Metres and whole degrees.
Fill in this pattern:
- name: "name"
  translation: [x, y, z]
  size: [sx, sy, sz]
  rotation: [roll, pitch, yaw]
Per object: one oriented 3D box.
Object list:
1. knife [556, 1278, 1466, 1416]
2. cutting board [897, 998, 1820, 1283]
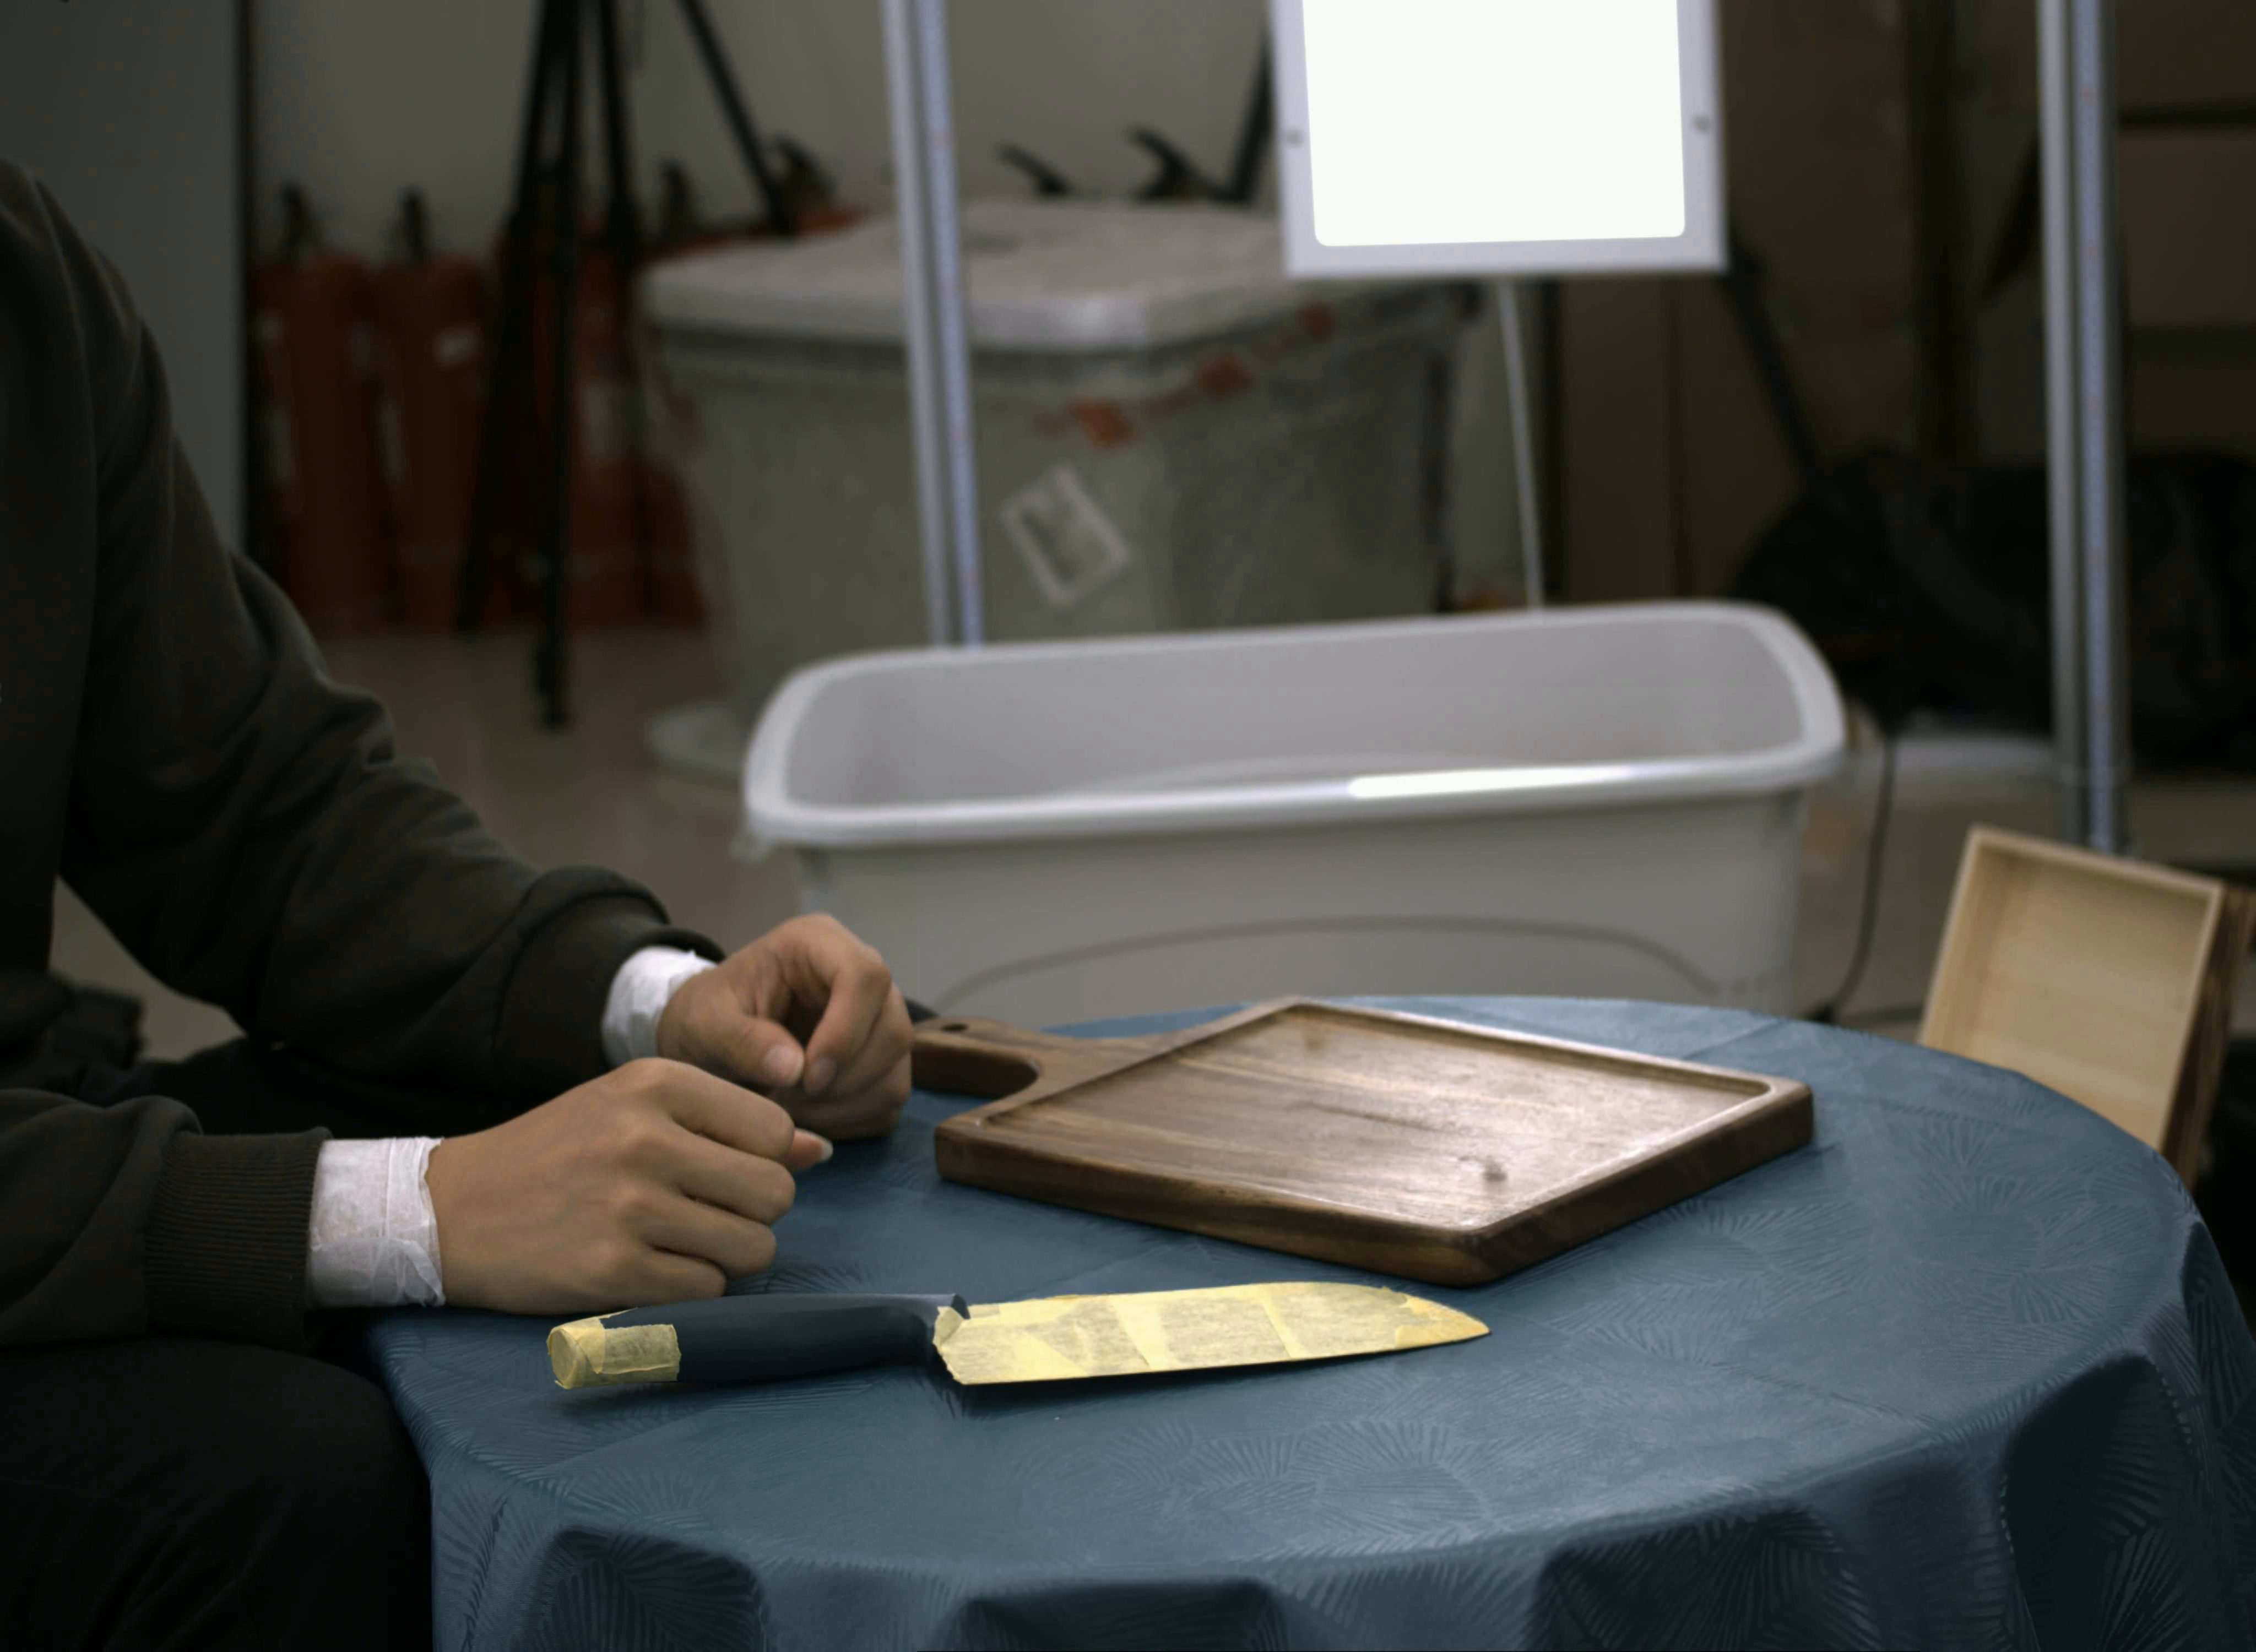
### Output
- name: "knife"
  translation: [-0.035, 0.164, 1.734]
  size: [0.288, 0.027, 0.081]
  rotation: [-5, 12, -3]
- name: "cutting board"
  translation: [0.050, 0.100, 1.948]
  size: [0.360, 0.023, 0.196]
  rotation: [8, 18, 44]
